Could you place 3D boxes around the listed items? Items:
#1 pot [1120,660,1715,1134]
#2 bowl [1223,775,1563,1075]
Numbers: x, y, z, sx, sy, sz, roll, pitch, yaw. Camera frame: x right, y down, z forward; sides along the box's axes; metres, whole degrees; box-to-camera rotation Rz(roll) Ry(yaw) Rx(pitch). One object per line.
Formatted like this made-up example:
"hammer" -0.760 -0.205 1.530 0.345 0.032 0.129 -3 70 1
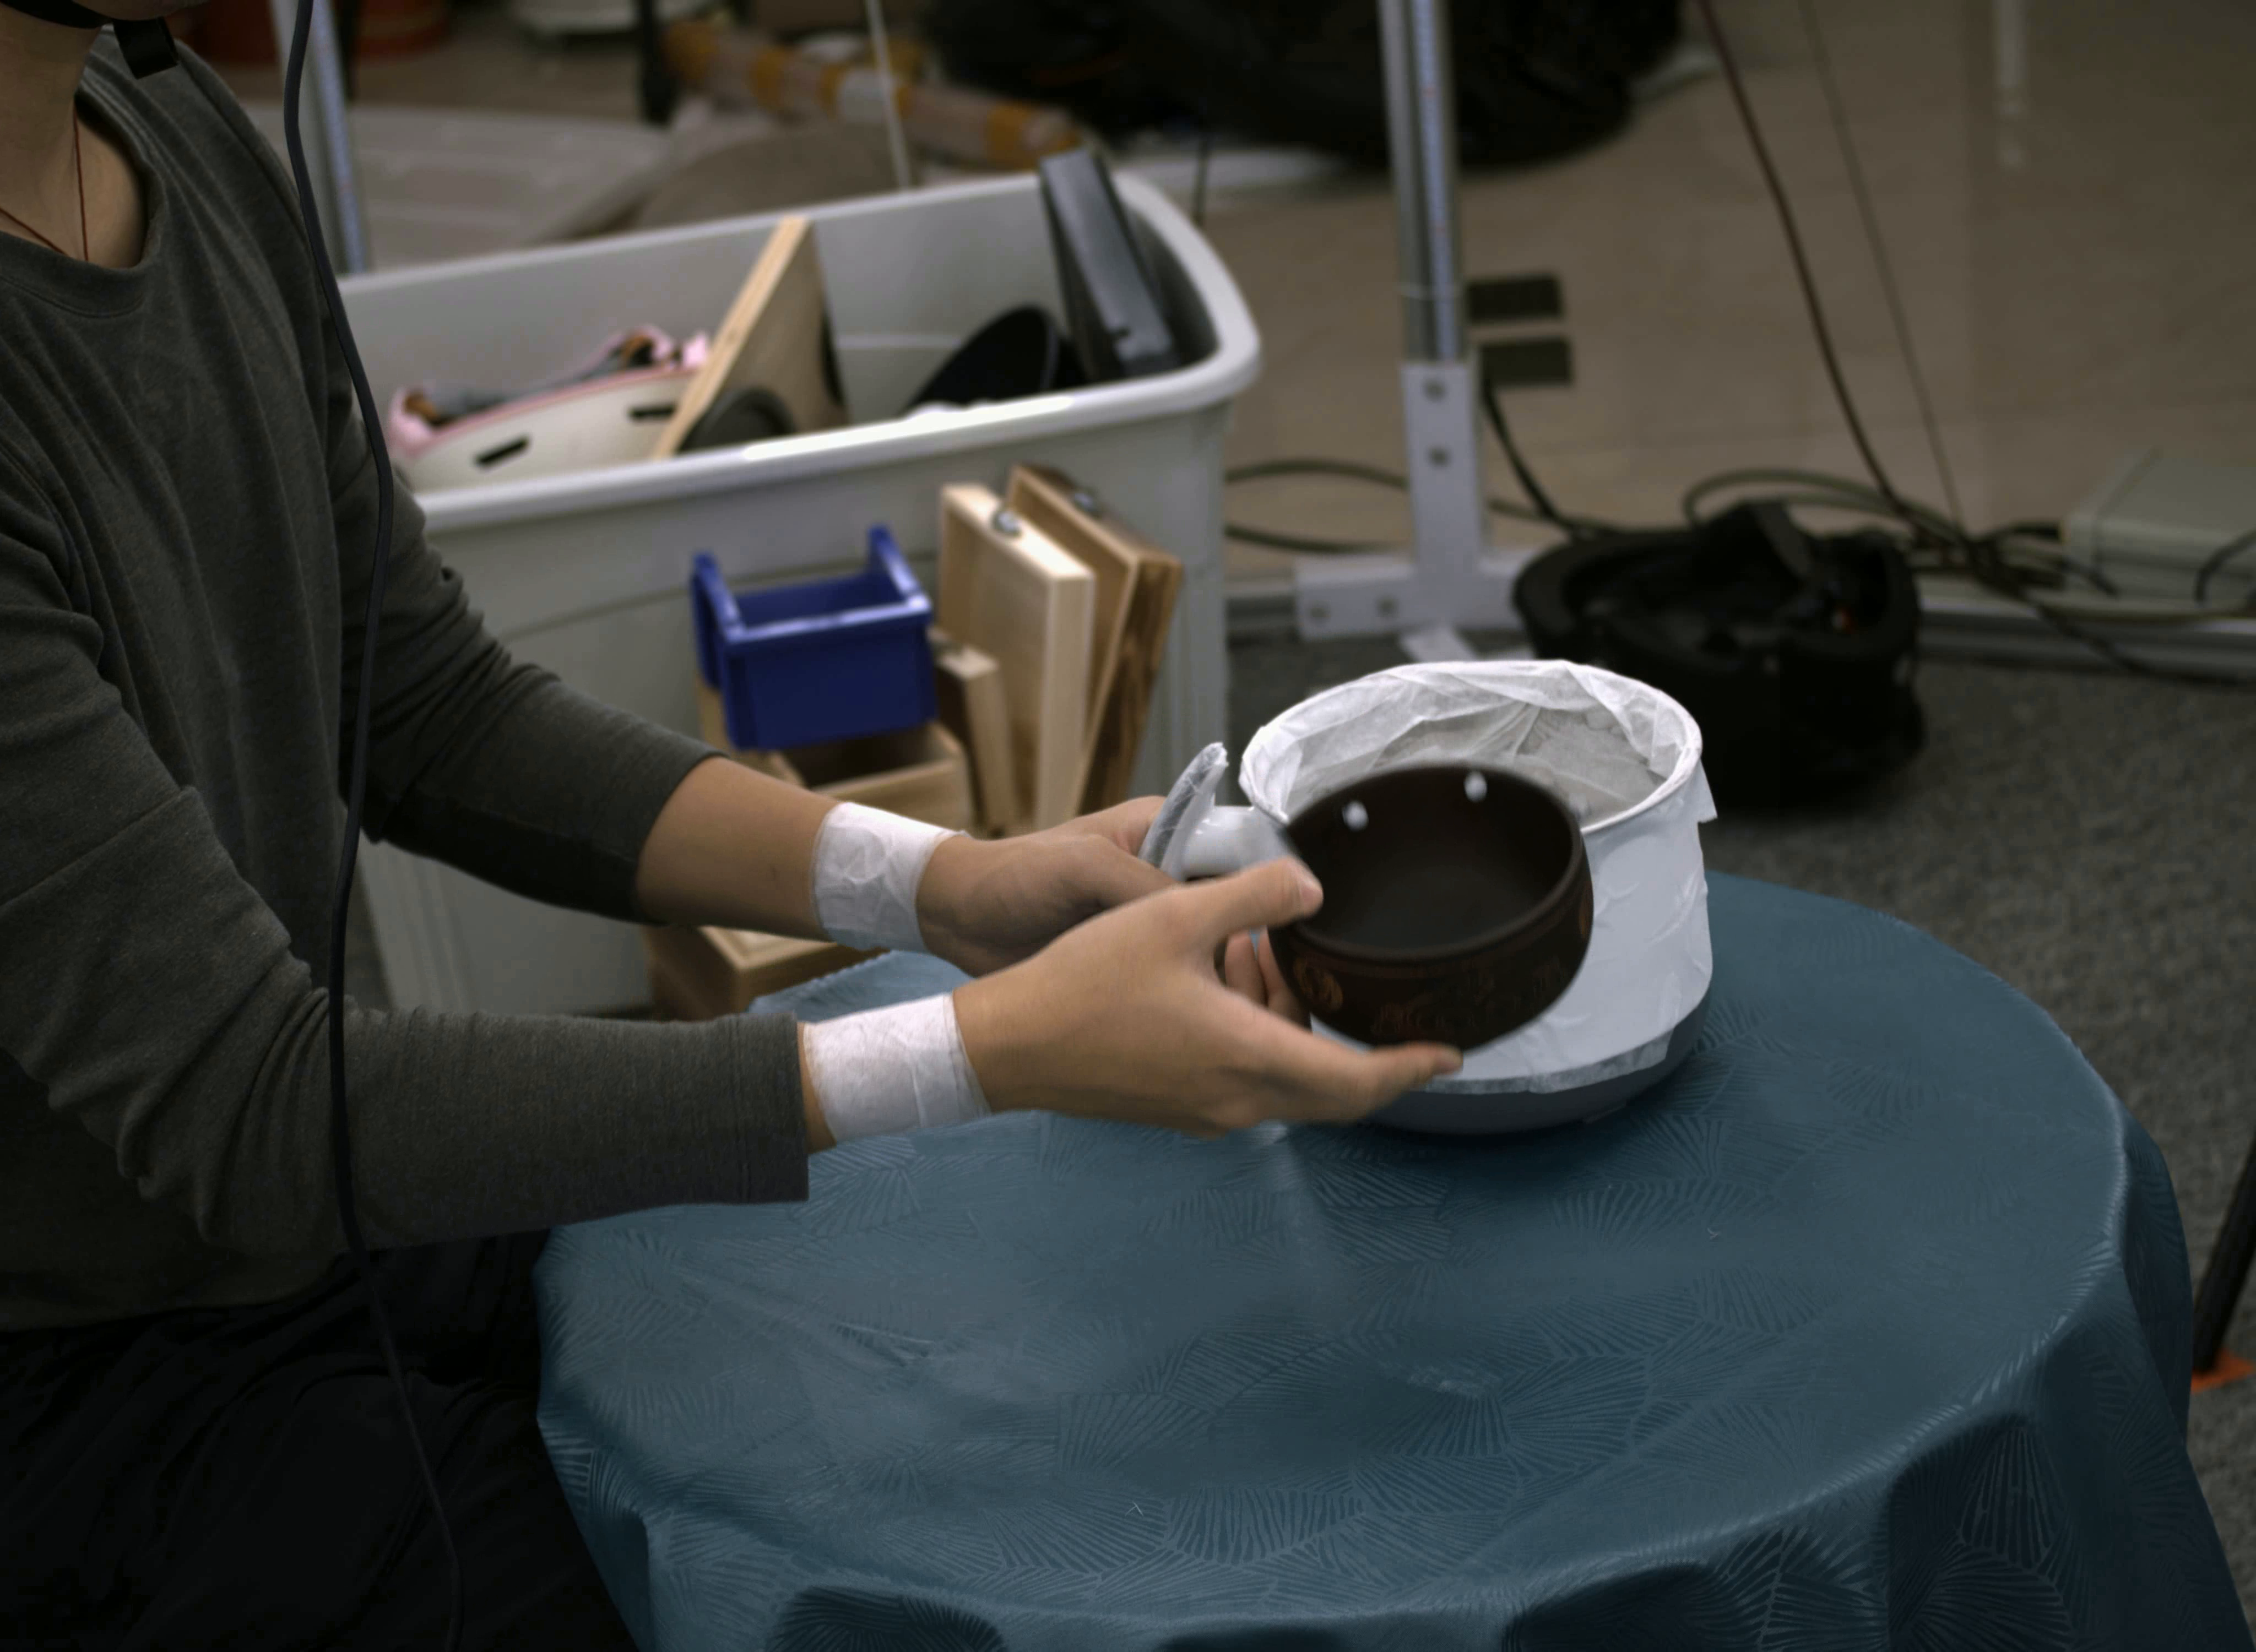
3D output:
"pot" 0.109 0.030 2.192 0.233 0.139 0.176 -2 25 9
"bowl" 0.098 0.044 2.002 0.118 0.071 0.116 -13 36 10
